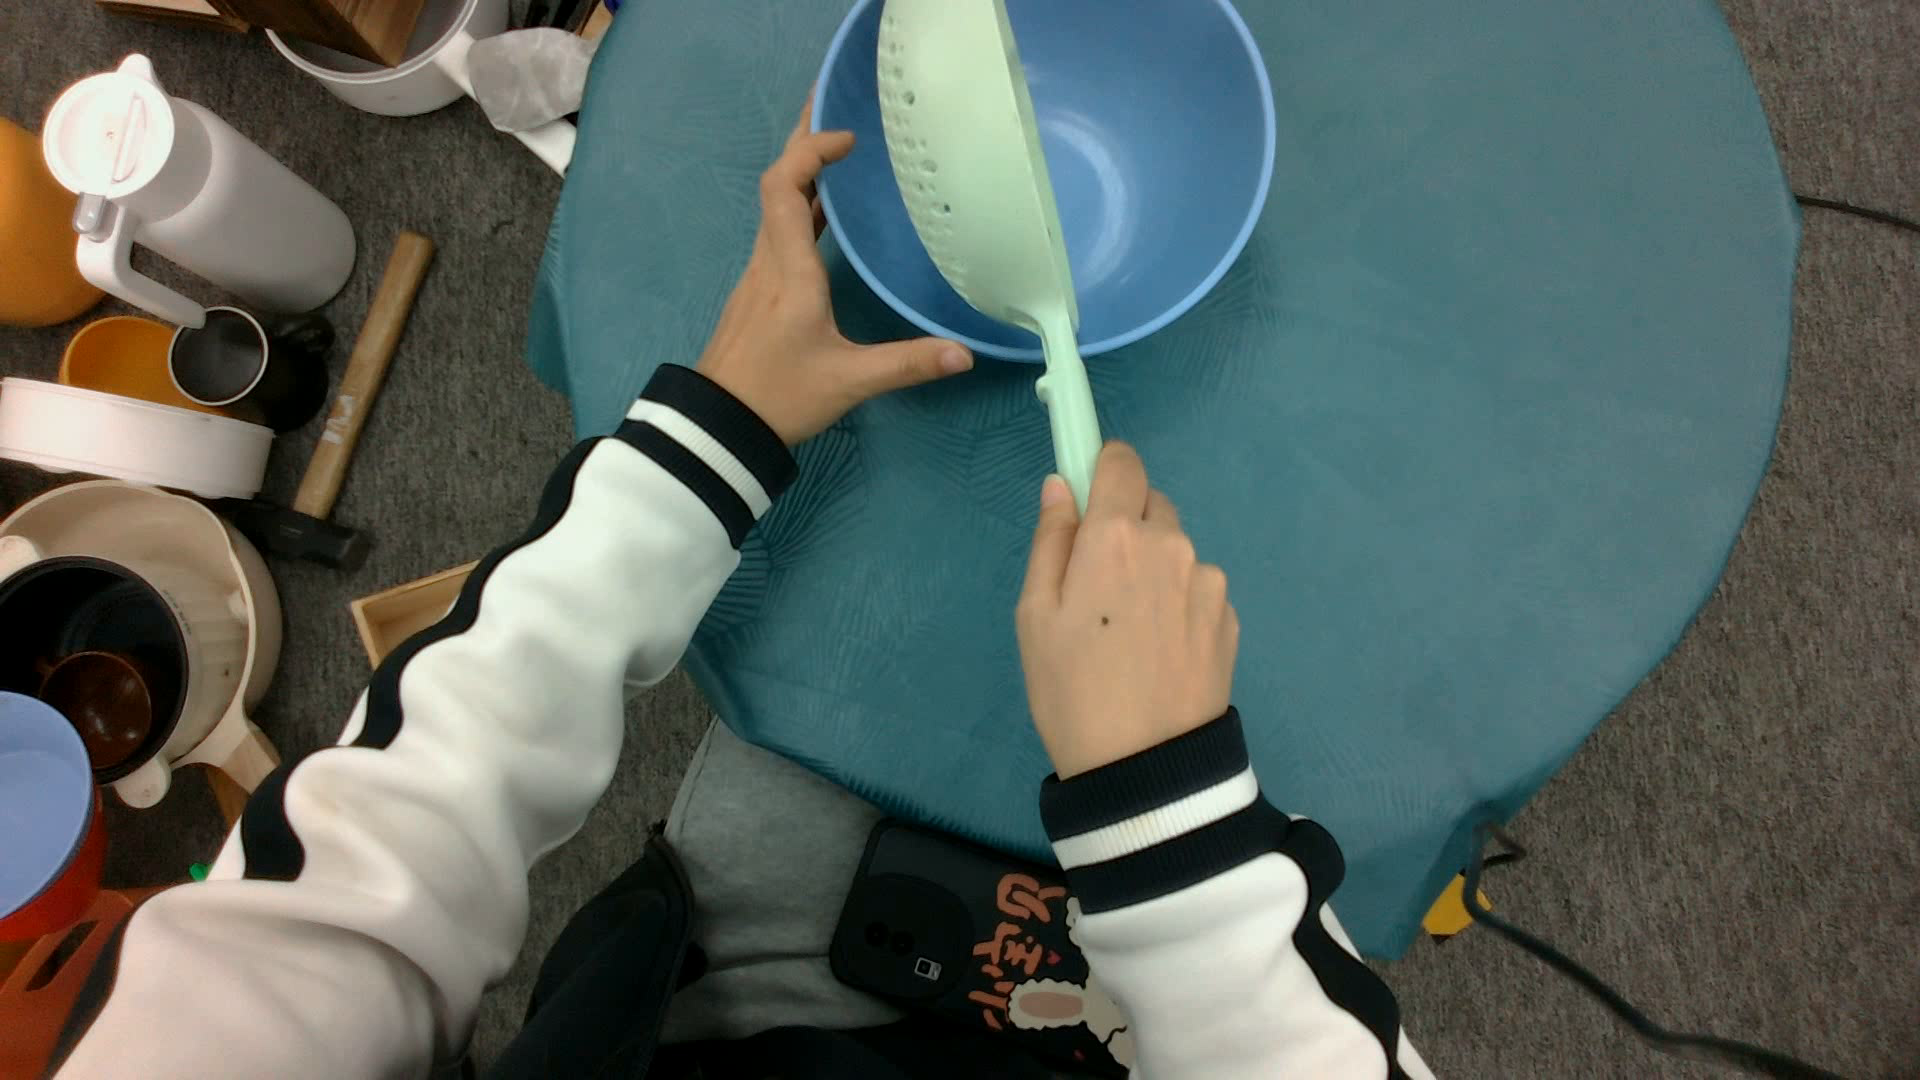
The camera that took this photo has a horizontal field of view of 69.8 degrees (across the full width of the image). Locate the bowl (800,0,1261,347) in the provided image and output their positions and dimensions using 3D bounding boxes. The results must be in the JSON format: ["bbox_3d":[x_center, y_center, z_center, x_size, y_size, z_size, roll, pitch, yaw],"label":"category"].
[{"bbox_3d":[0.030,-0.173,0.629,0.196,0.095,0.196,0,83,0],"label":"bowl"}]

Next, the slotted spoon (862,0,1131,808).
[{"bbox_3d":[0.024,-0.080,0.533,0.075,0.169,0.359,-20,69,7],"label":"slotted spoon"}]
